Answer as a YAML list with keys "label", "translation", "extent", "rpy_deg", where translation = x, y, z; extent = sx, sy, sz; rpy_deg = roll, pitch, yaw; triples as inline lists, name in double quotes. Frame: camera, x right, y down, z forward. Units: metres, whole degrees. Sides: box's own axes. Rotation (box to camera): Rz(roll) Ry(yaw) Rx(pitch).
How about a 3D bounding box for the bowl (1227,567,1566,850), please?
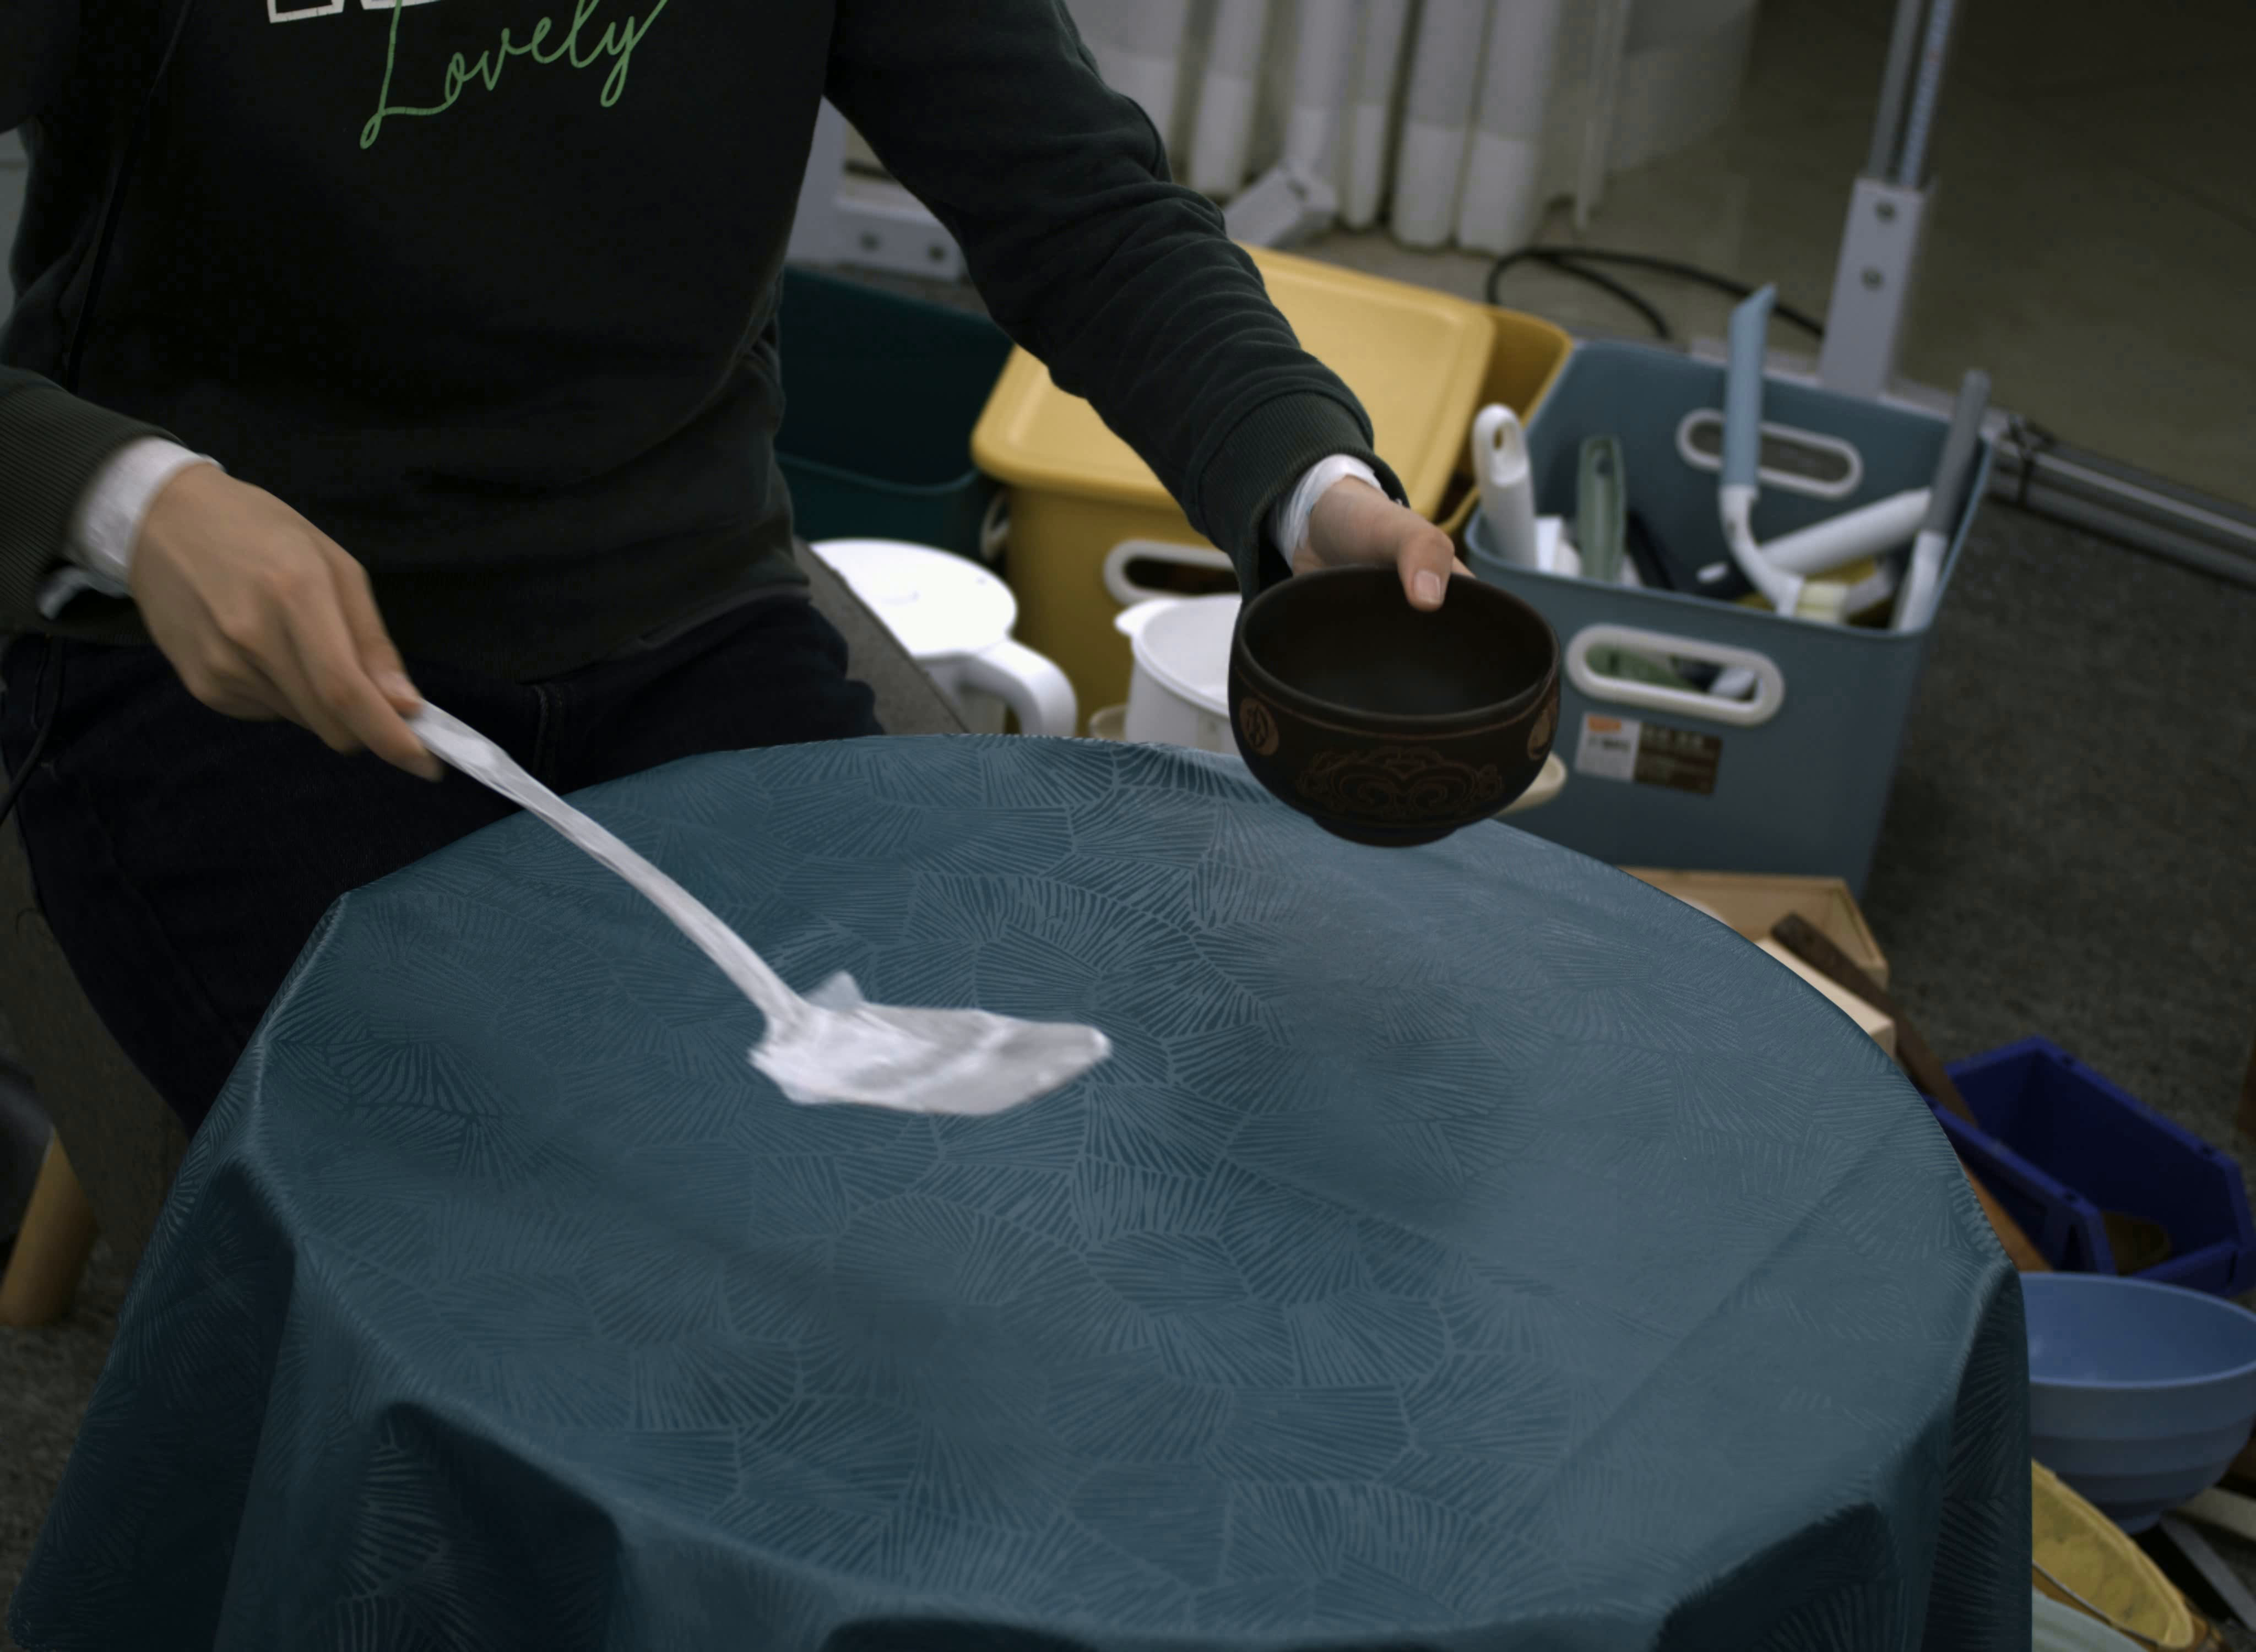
- label: "bowl"
  translation: [0.093, -0.035, 1.865]
  extent: [0.117, 0.069, 0.119]
  rpy_deg: [3, 29, -2]

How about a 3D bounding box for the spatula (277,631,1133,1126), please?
- label: "spatula"
  translation: [-0.156, 0.009, 1.721]
  extent: [0.367, 0.044, 0.098]
  rpy_deg: [34, 34, 28]
